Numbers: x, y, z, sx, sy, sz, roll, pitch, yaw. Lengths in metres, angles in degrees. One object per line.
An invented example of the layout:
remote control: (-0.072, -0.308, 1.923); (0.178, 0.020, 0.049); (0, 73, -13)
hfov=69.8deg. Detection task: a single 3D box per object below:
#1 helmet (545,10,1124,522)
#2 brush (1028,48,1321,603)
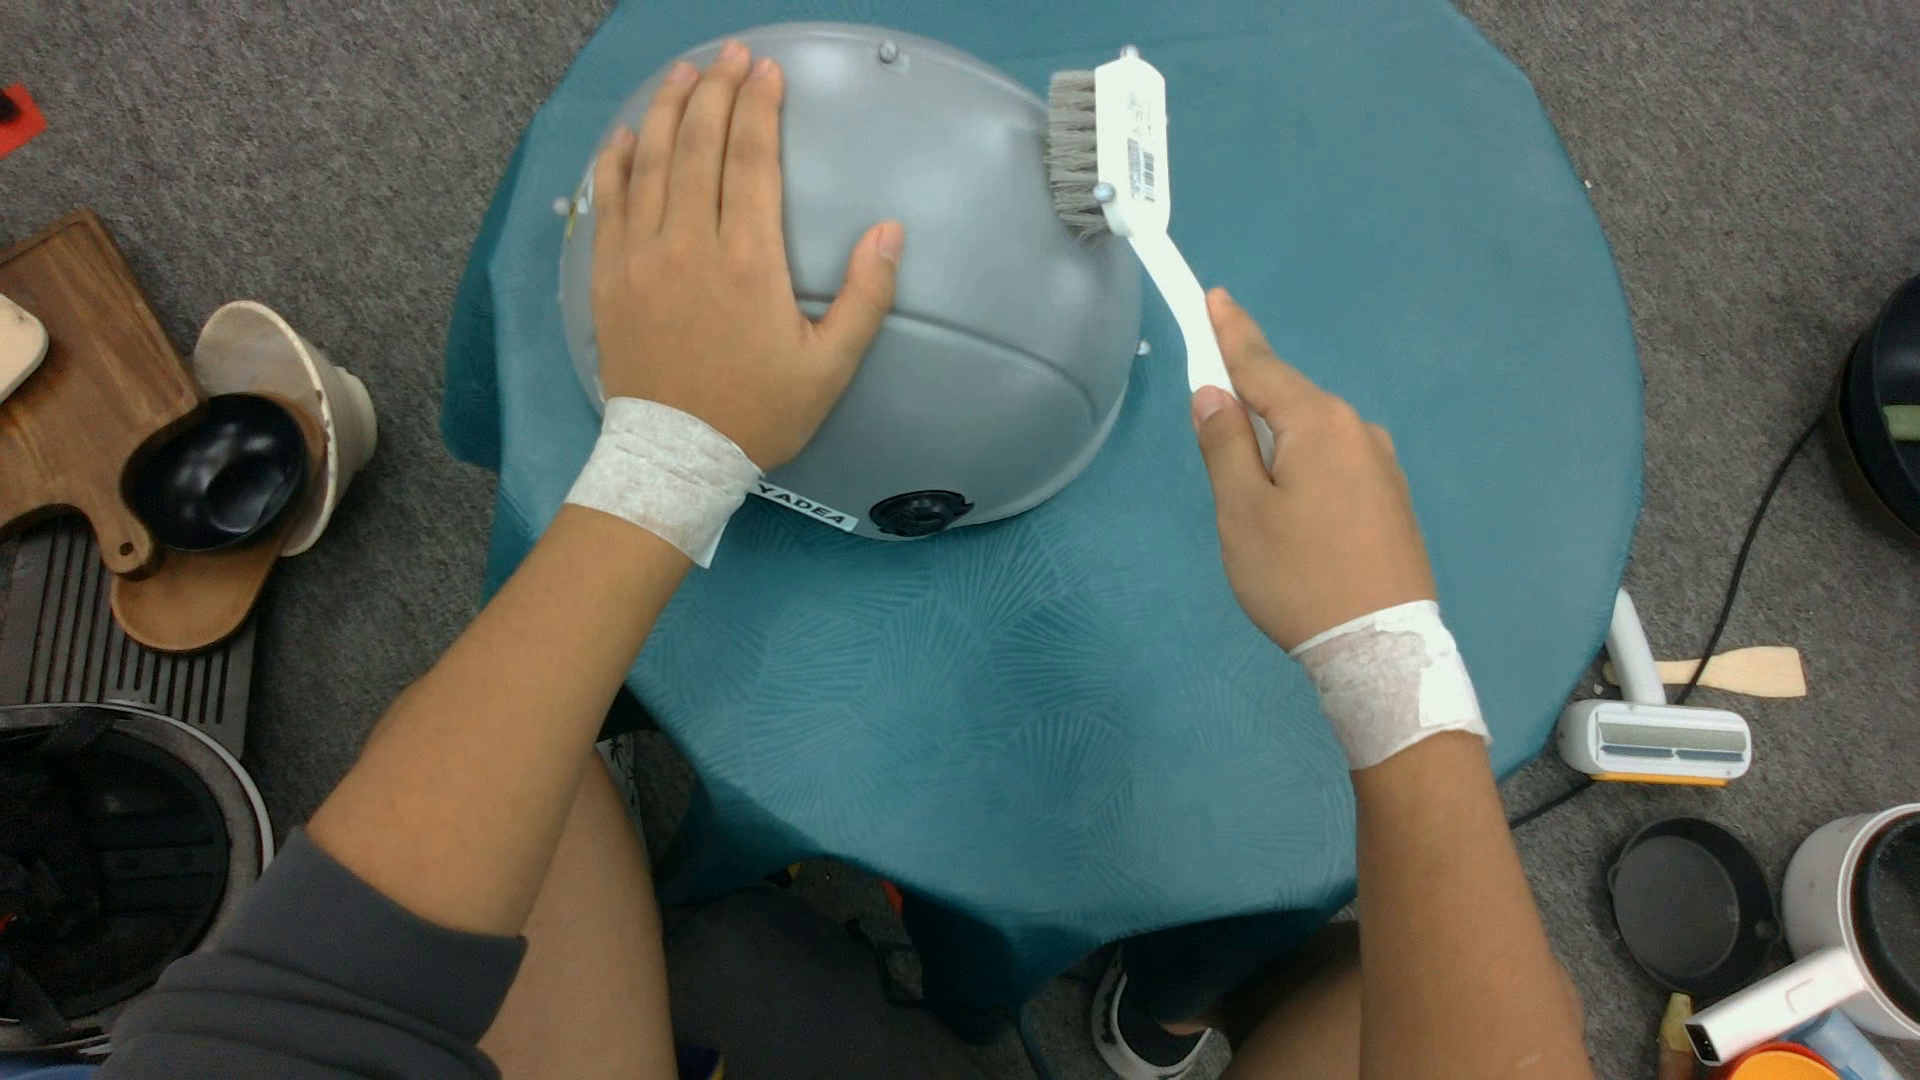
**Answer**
helmet: (-0.044, -0.134, 0.609); (0.276, 0.168, 0.232); (6, 75, -10)
brush: (0.078, -0.085, 0.542); (0.034, 0.050, 0.244); (-5, 73, -47)
